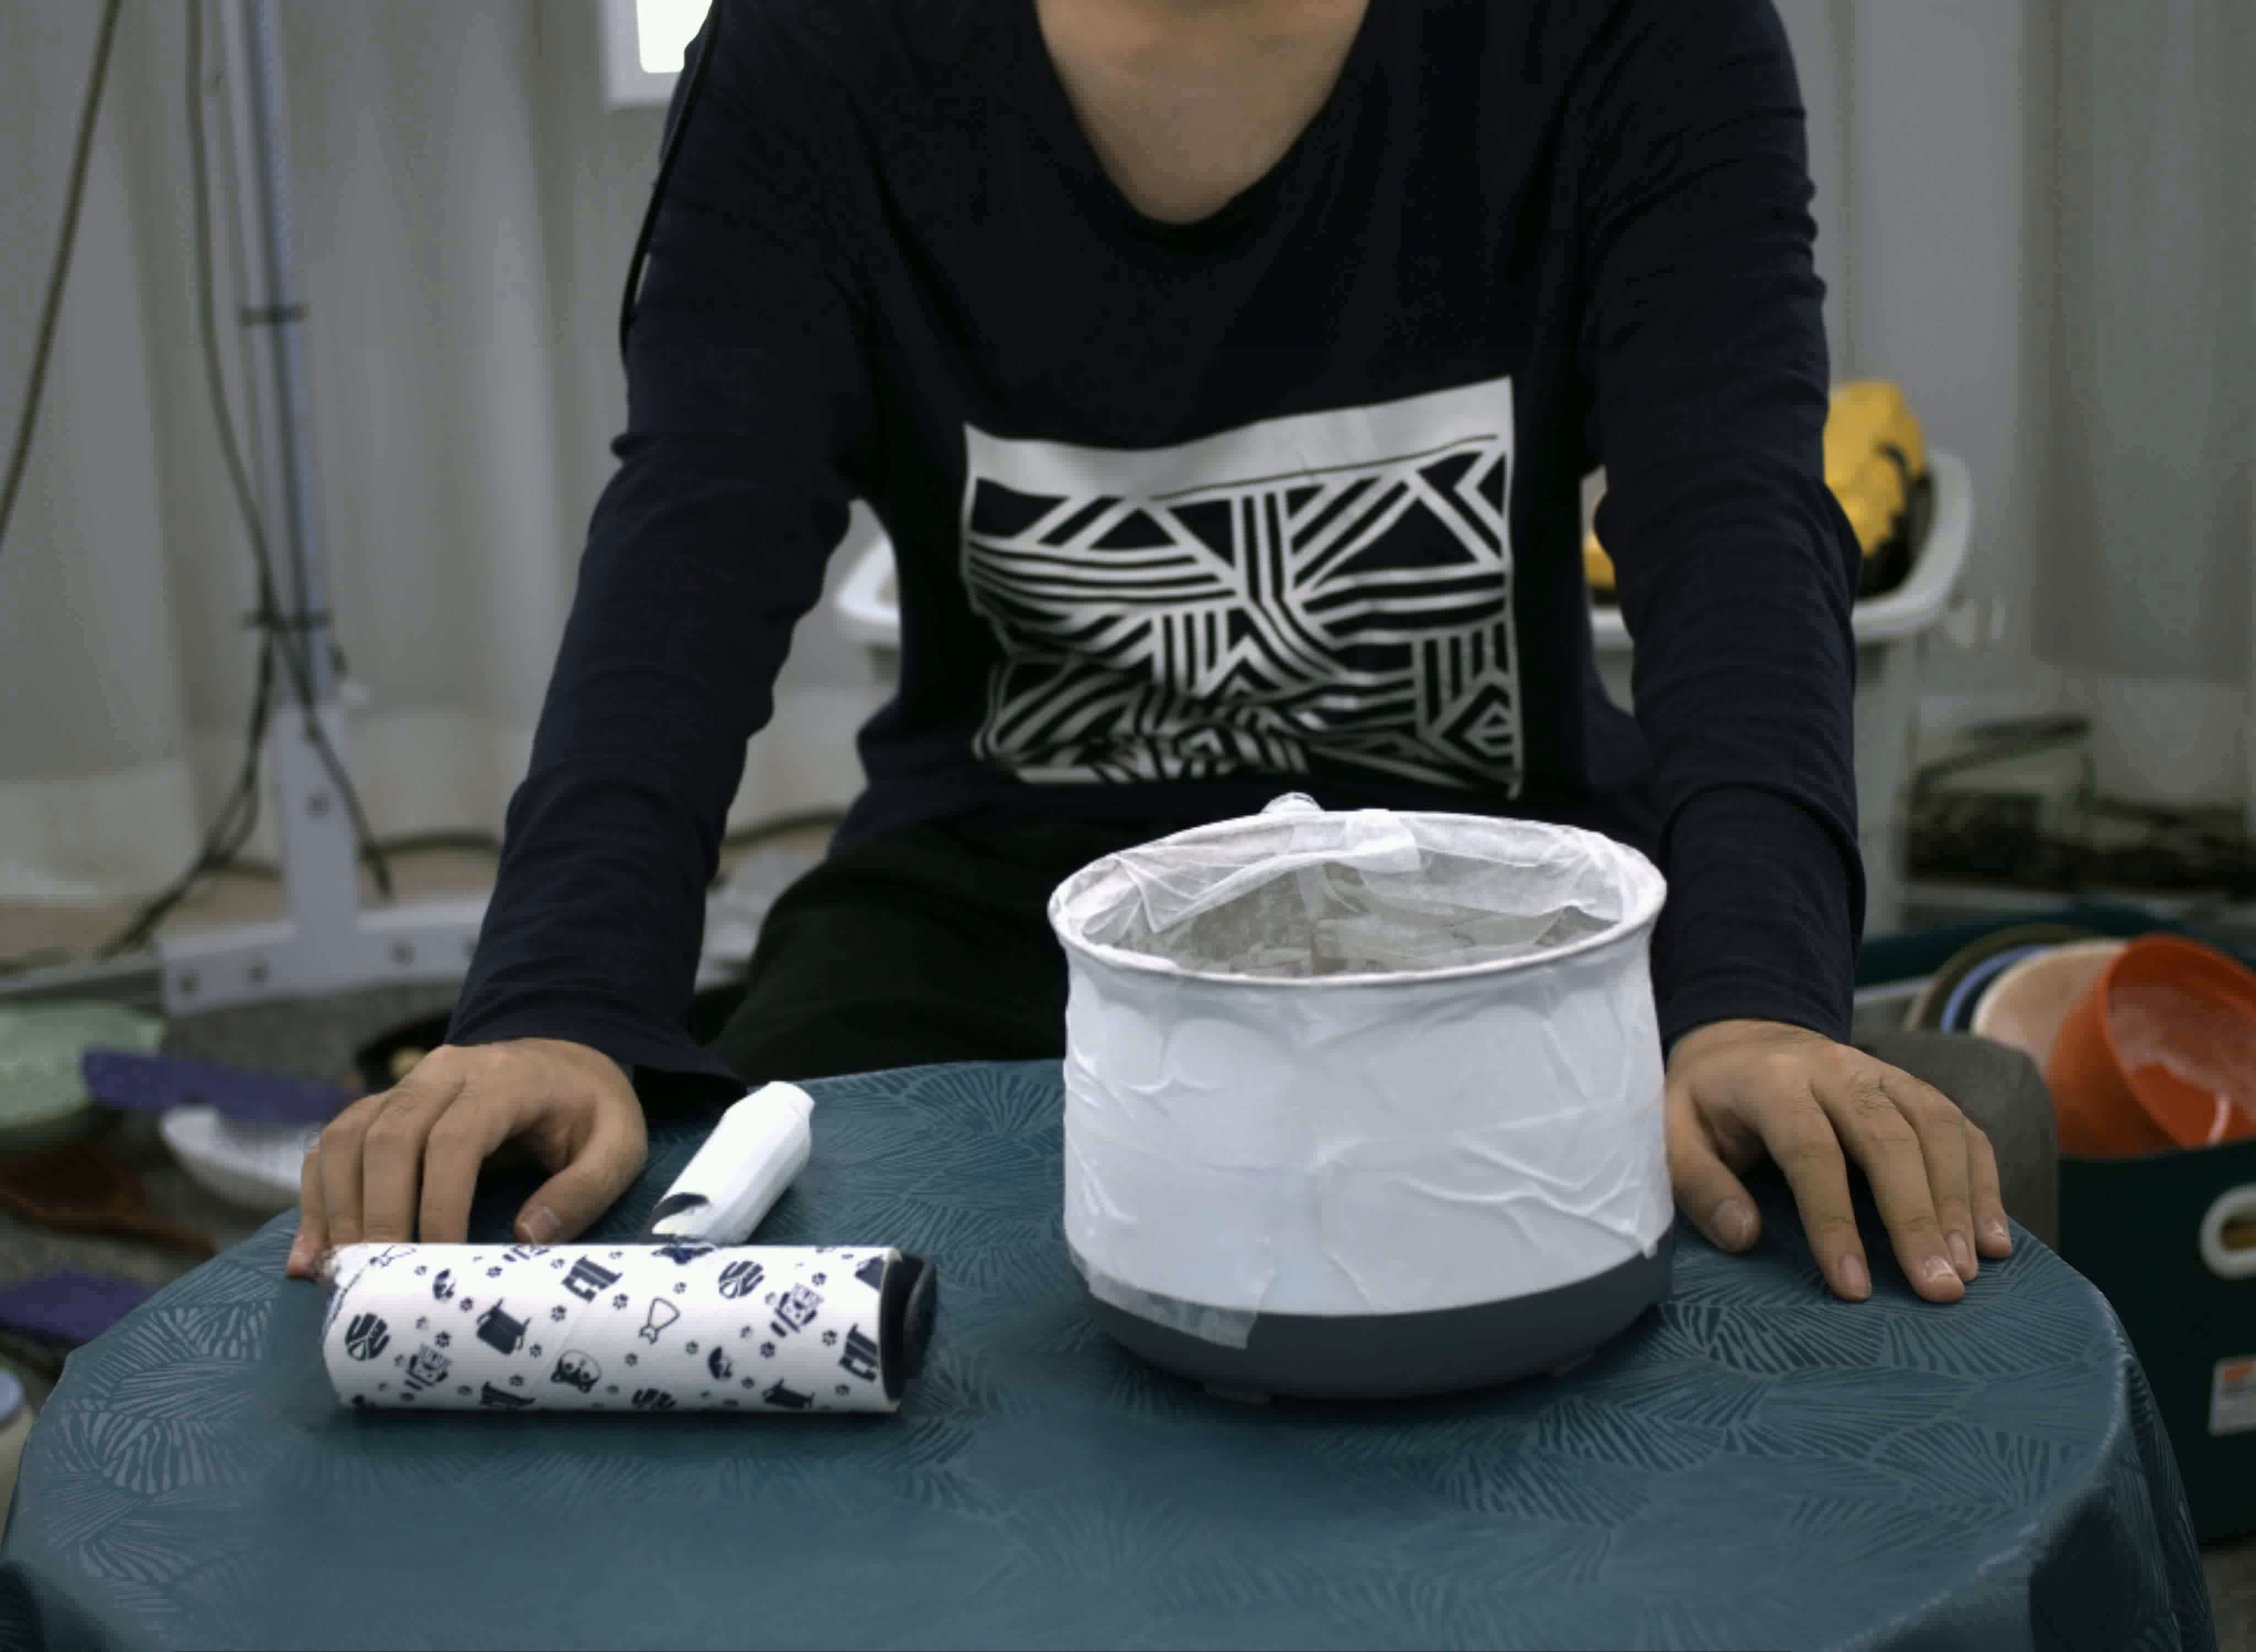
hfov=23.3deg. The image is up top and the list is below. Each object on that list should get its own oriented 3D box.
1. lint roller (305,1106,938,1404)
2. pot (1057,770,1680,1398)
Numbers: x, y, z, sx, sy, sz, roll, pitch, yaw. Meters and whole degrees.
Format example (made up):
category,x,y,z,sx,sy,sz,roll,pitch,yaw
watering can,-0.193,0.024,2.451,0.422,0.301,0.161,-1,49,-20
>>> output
category,x,y,z,sx,sy,sz,roll,pitch,yaw
lint roller,-0.131,0.119,1.646,0.176,0.050,0.248,-2,13,8
pot,0.063,0.069,1.596,0.178,0.136,0.236,-2,16,-10
